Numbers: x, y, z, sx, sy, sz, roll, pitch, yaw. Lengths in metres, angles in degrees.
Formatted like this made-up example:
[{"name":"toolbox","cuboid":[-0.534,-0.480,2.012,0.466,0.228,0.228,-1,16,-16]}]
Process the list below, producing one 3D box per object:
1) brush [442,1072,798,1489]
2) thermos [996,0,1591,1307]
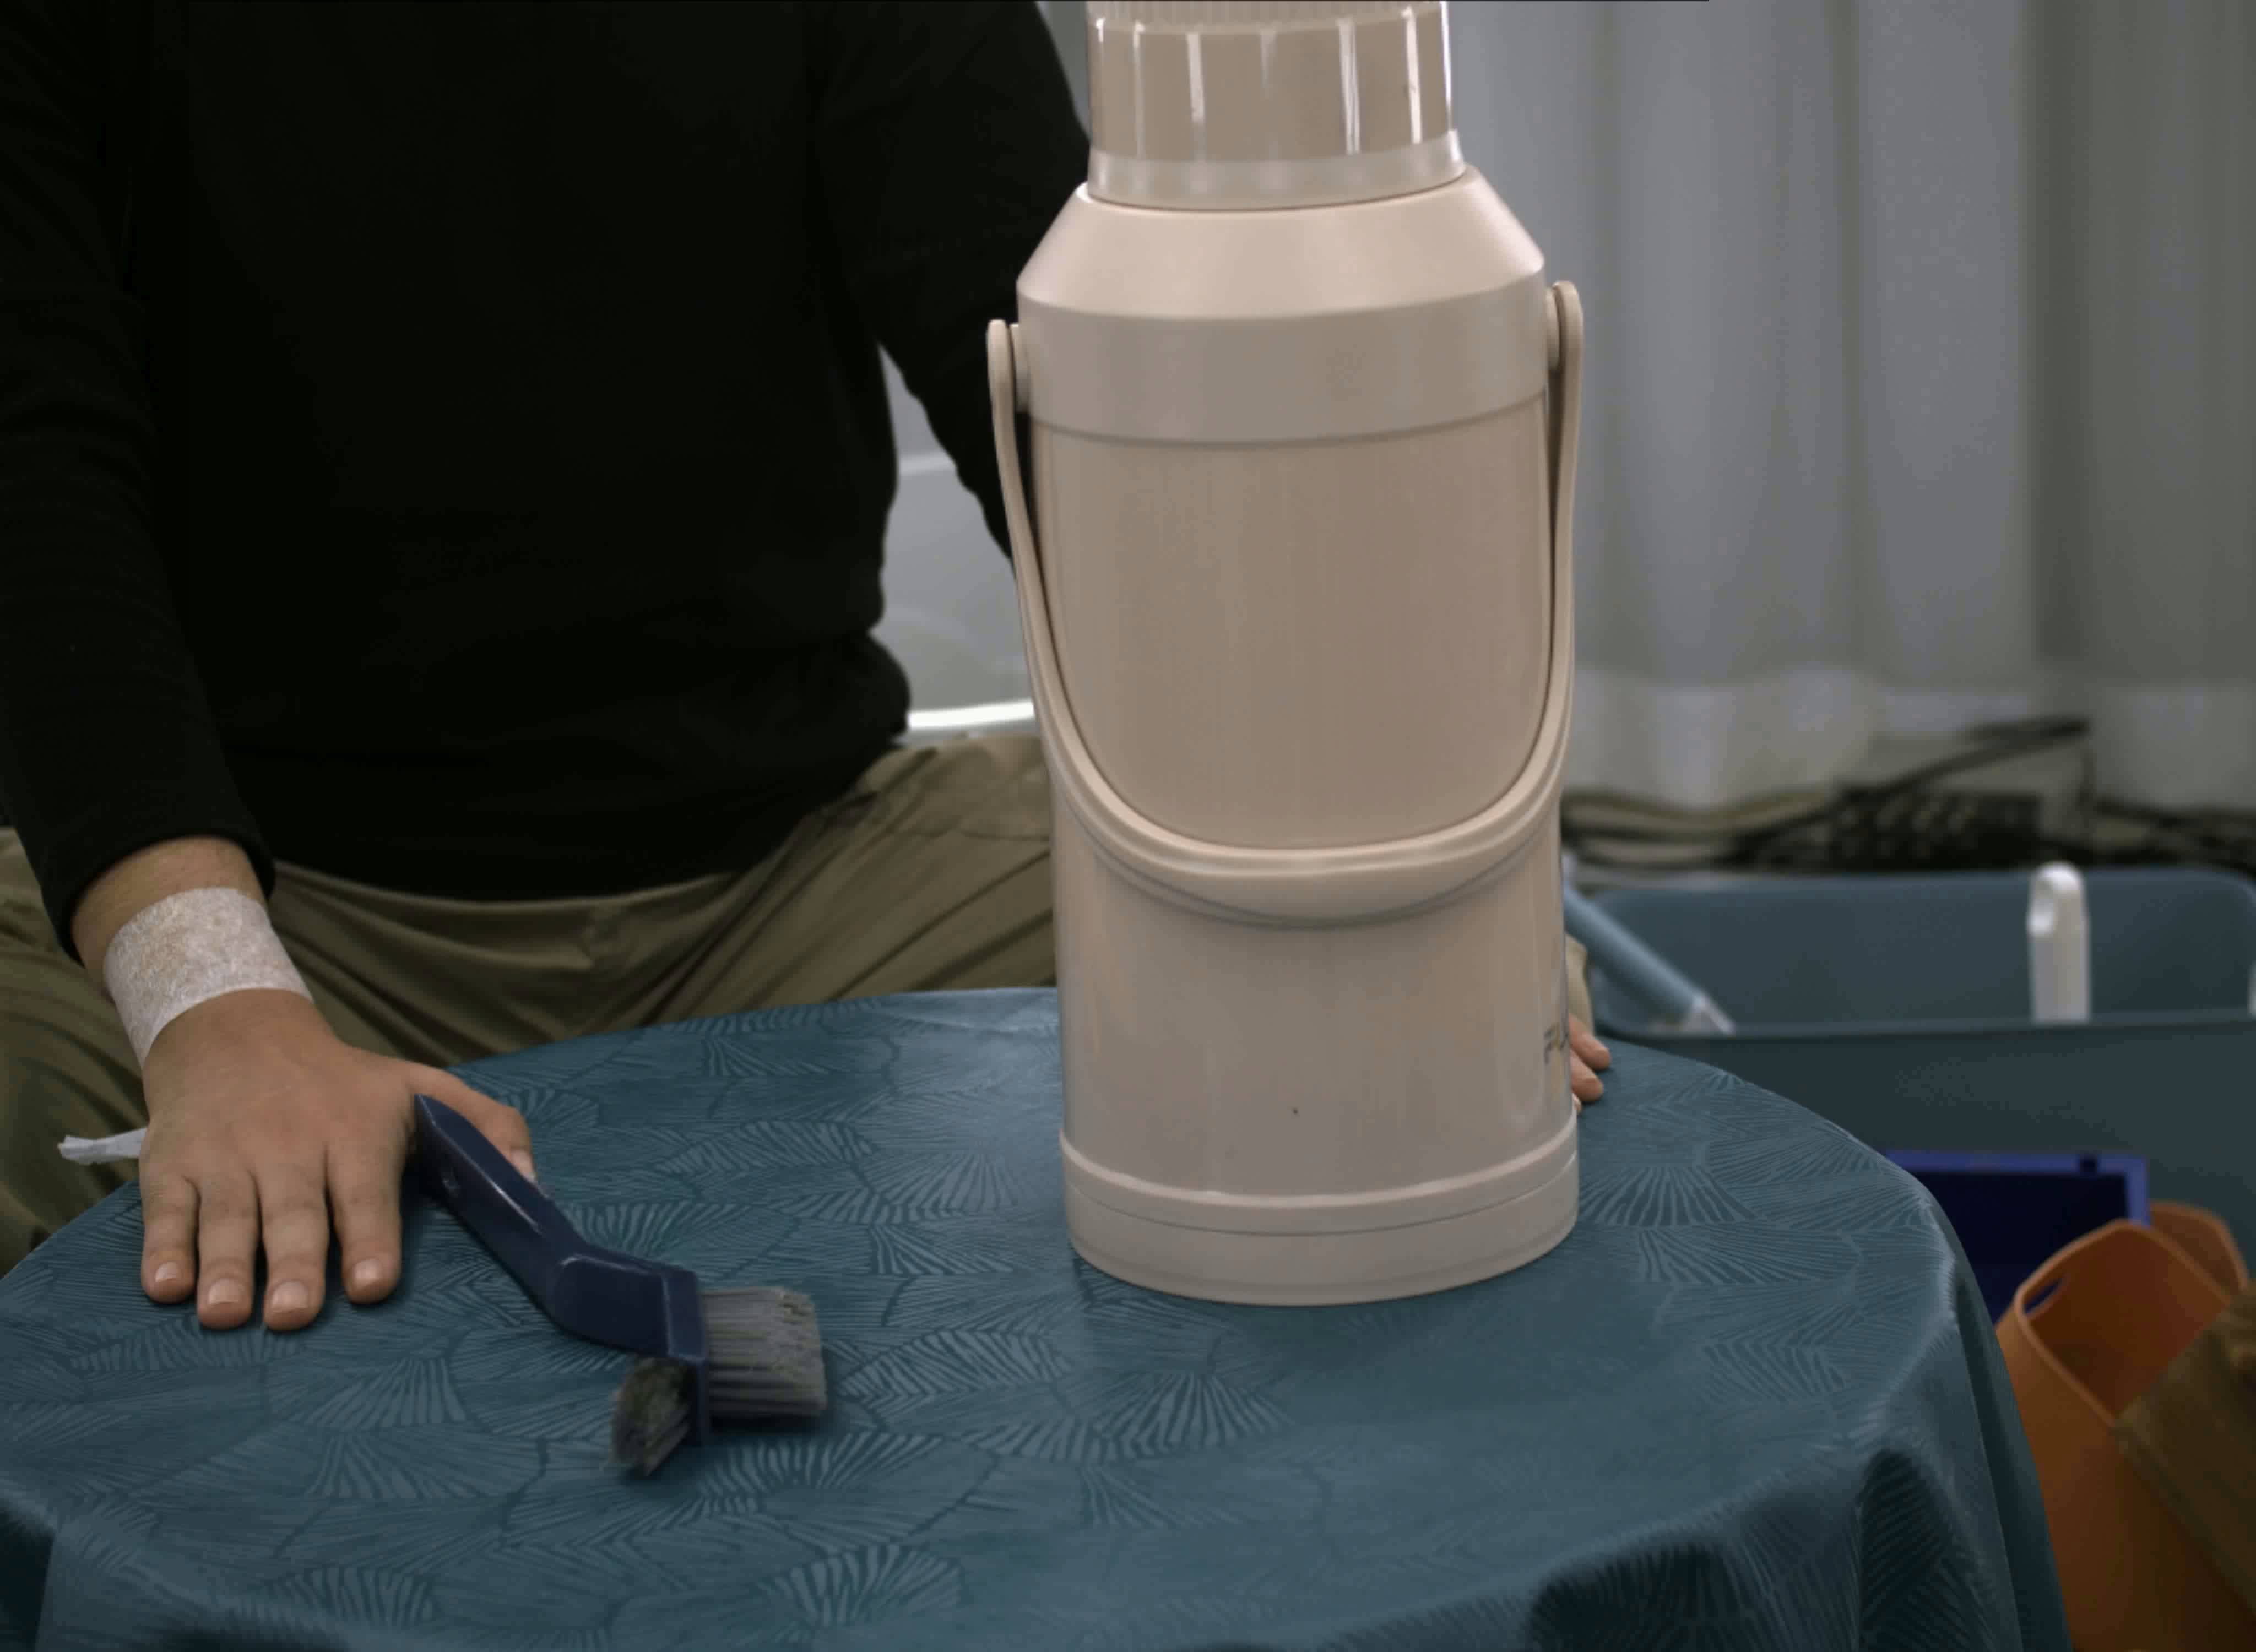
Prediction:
[{"name":"brush","cuboid":[-0.174,0.131,1.623,0.095,0.033,0.275,-9,18,-29]},{"name":"thermos","cuboid":[0.052,-0.074,1.648,0.174,0.405,0.208,-6,14,-5]}]
